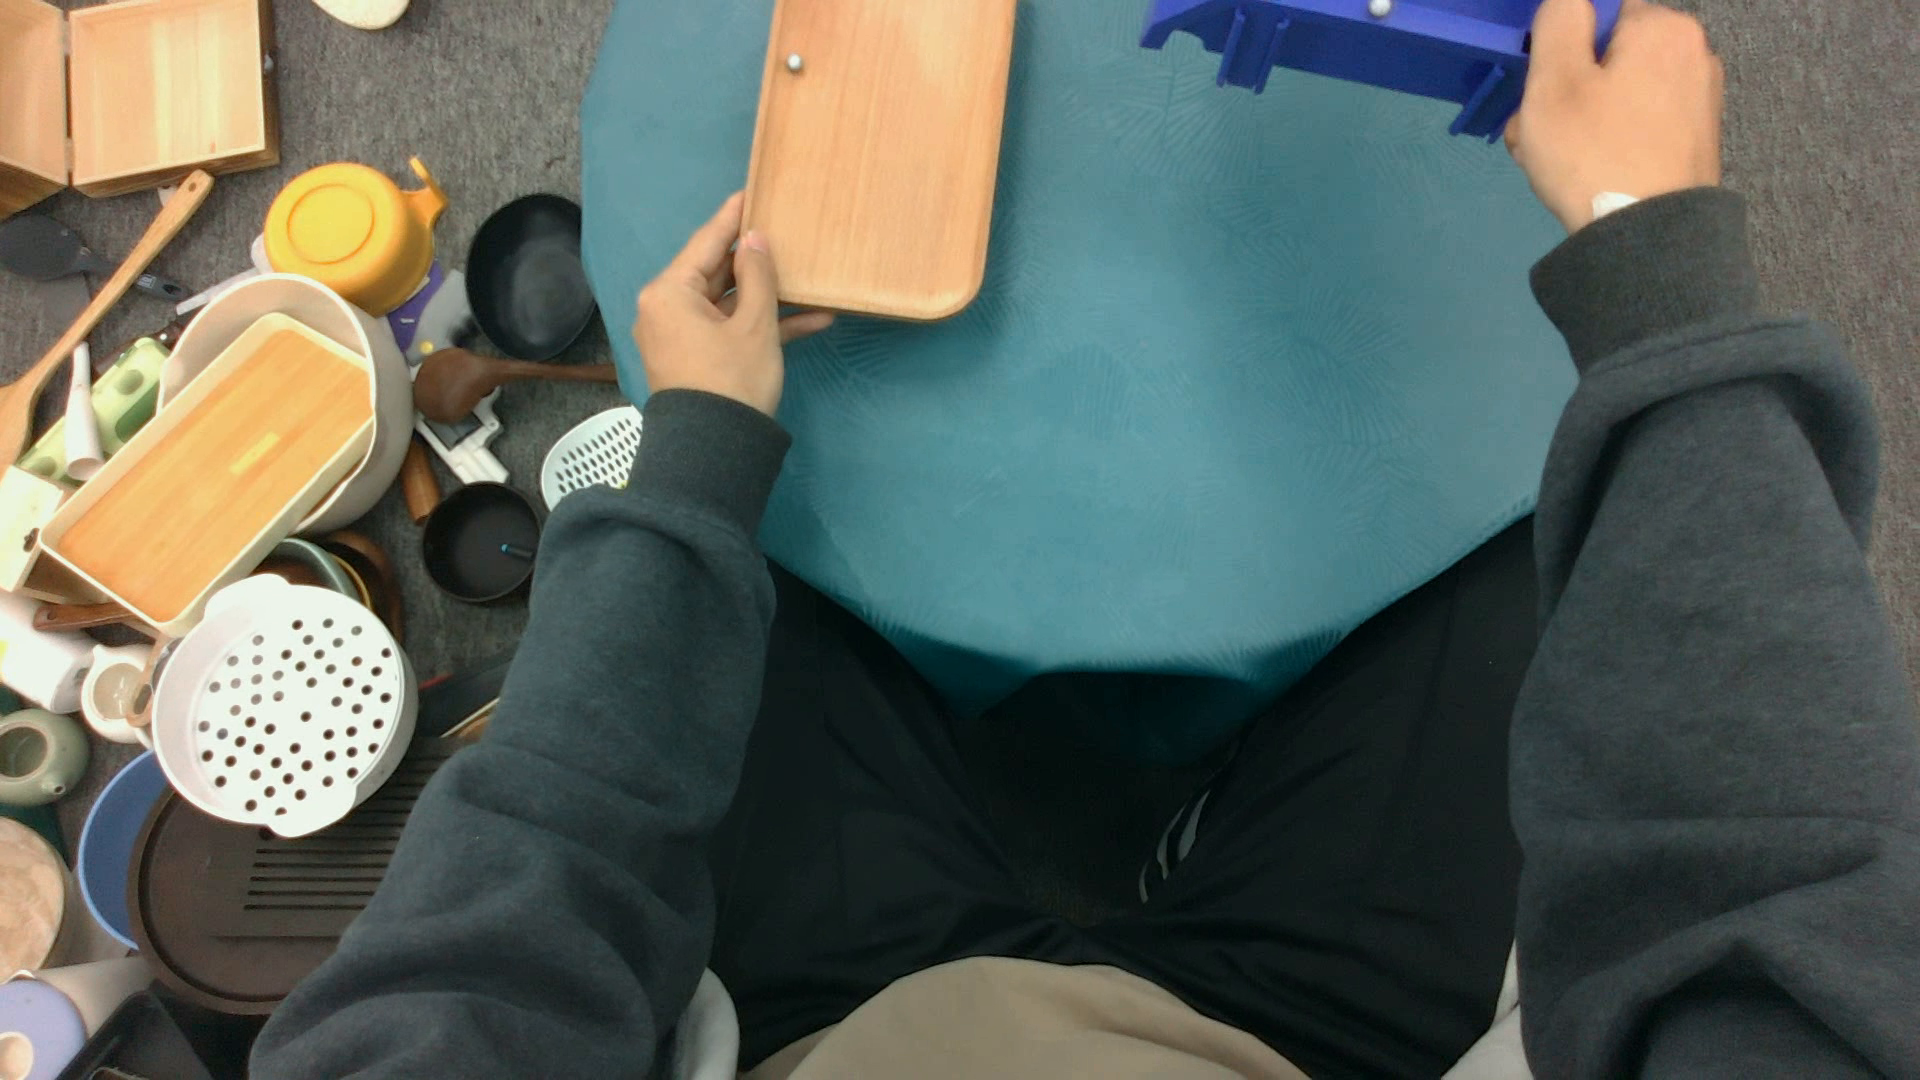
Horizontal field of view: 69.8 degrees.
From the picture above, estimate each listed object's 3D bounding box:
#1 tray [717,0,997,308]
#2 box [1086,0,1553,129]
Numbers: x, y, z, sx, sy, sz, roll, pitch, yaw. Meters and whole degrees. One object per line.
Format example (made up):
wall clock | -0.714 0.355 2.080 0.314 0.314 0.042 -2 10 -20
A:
tray | -0.050 -0.243 0.726 0.130 0.023 0.251 6 77 1
box | 0.156 -0.262 0.582 0.179 0.082 0.124 15 87 0
